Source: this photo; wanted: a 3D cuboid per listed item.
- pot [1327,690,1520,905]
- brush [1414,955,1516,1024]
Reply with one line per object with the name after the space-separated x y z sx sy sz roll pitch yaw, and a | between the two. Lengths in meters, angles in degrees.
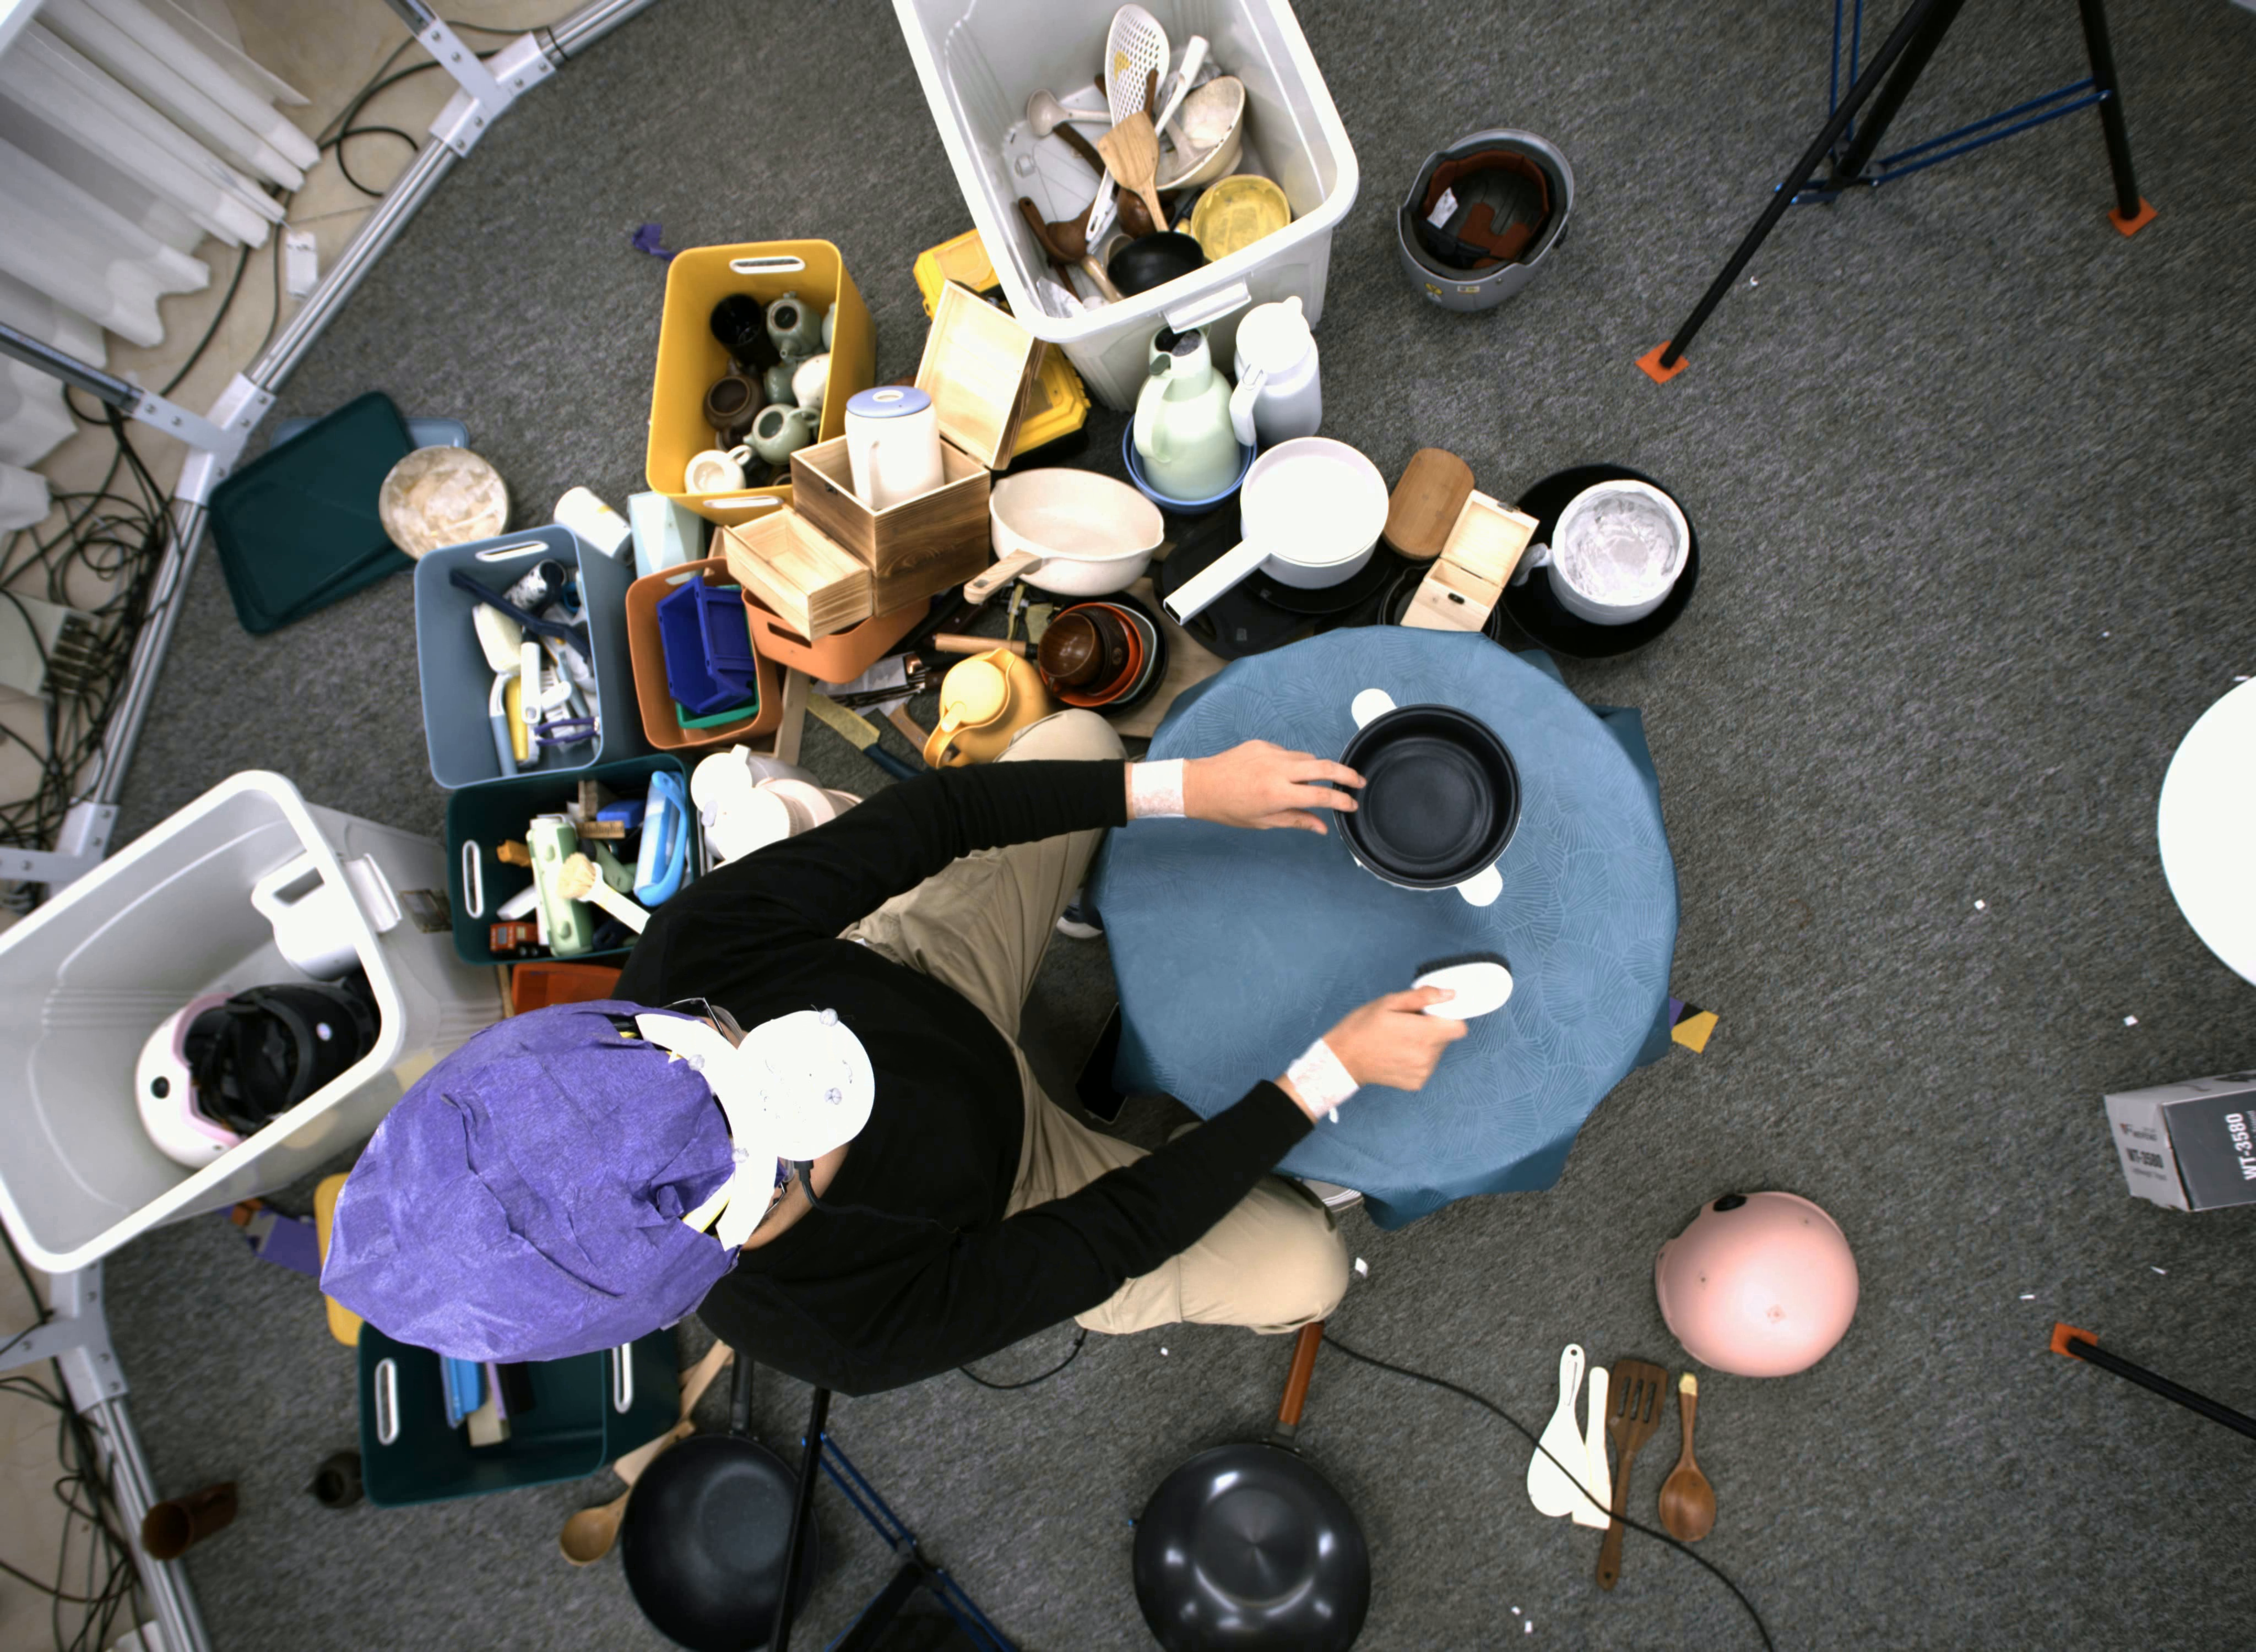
0.301 -0.028 1.390 0.192 0.142 0.239 -32 82 9 | pot
0.326 0.164 1.334 0.100 0.071 0.051 -12 108 17 | brush
